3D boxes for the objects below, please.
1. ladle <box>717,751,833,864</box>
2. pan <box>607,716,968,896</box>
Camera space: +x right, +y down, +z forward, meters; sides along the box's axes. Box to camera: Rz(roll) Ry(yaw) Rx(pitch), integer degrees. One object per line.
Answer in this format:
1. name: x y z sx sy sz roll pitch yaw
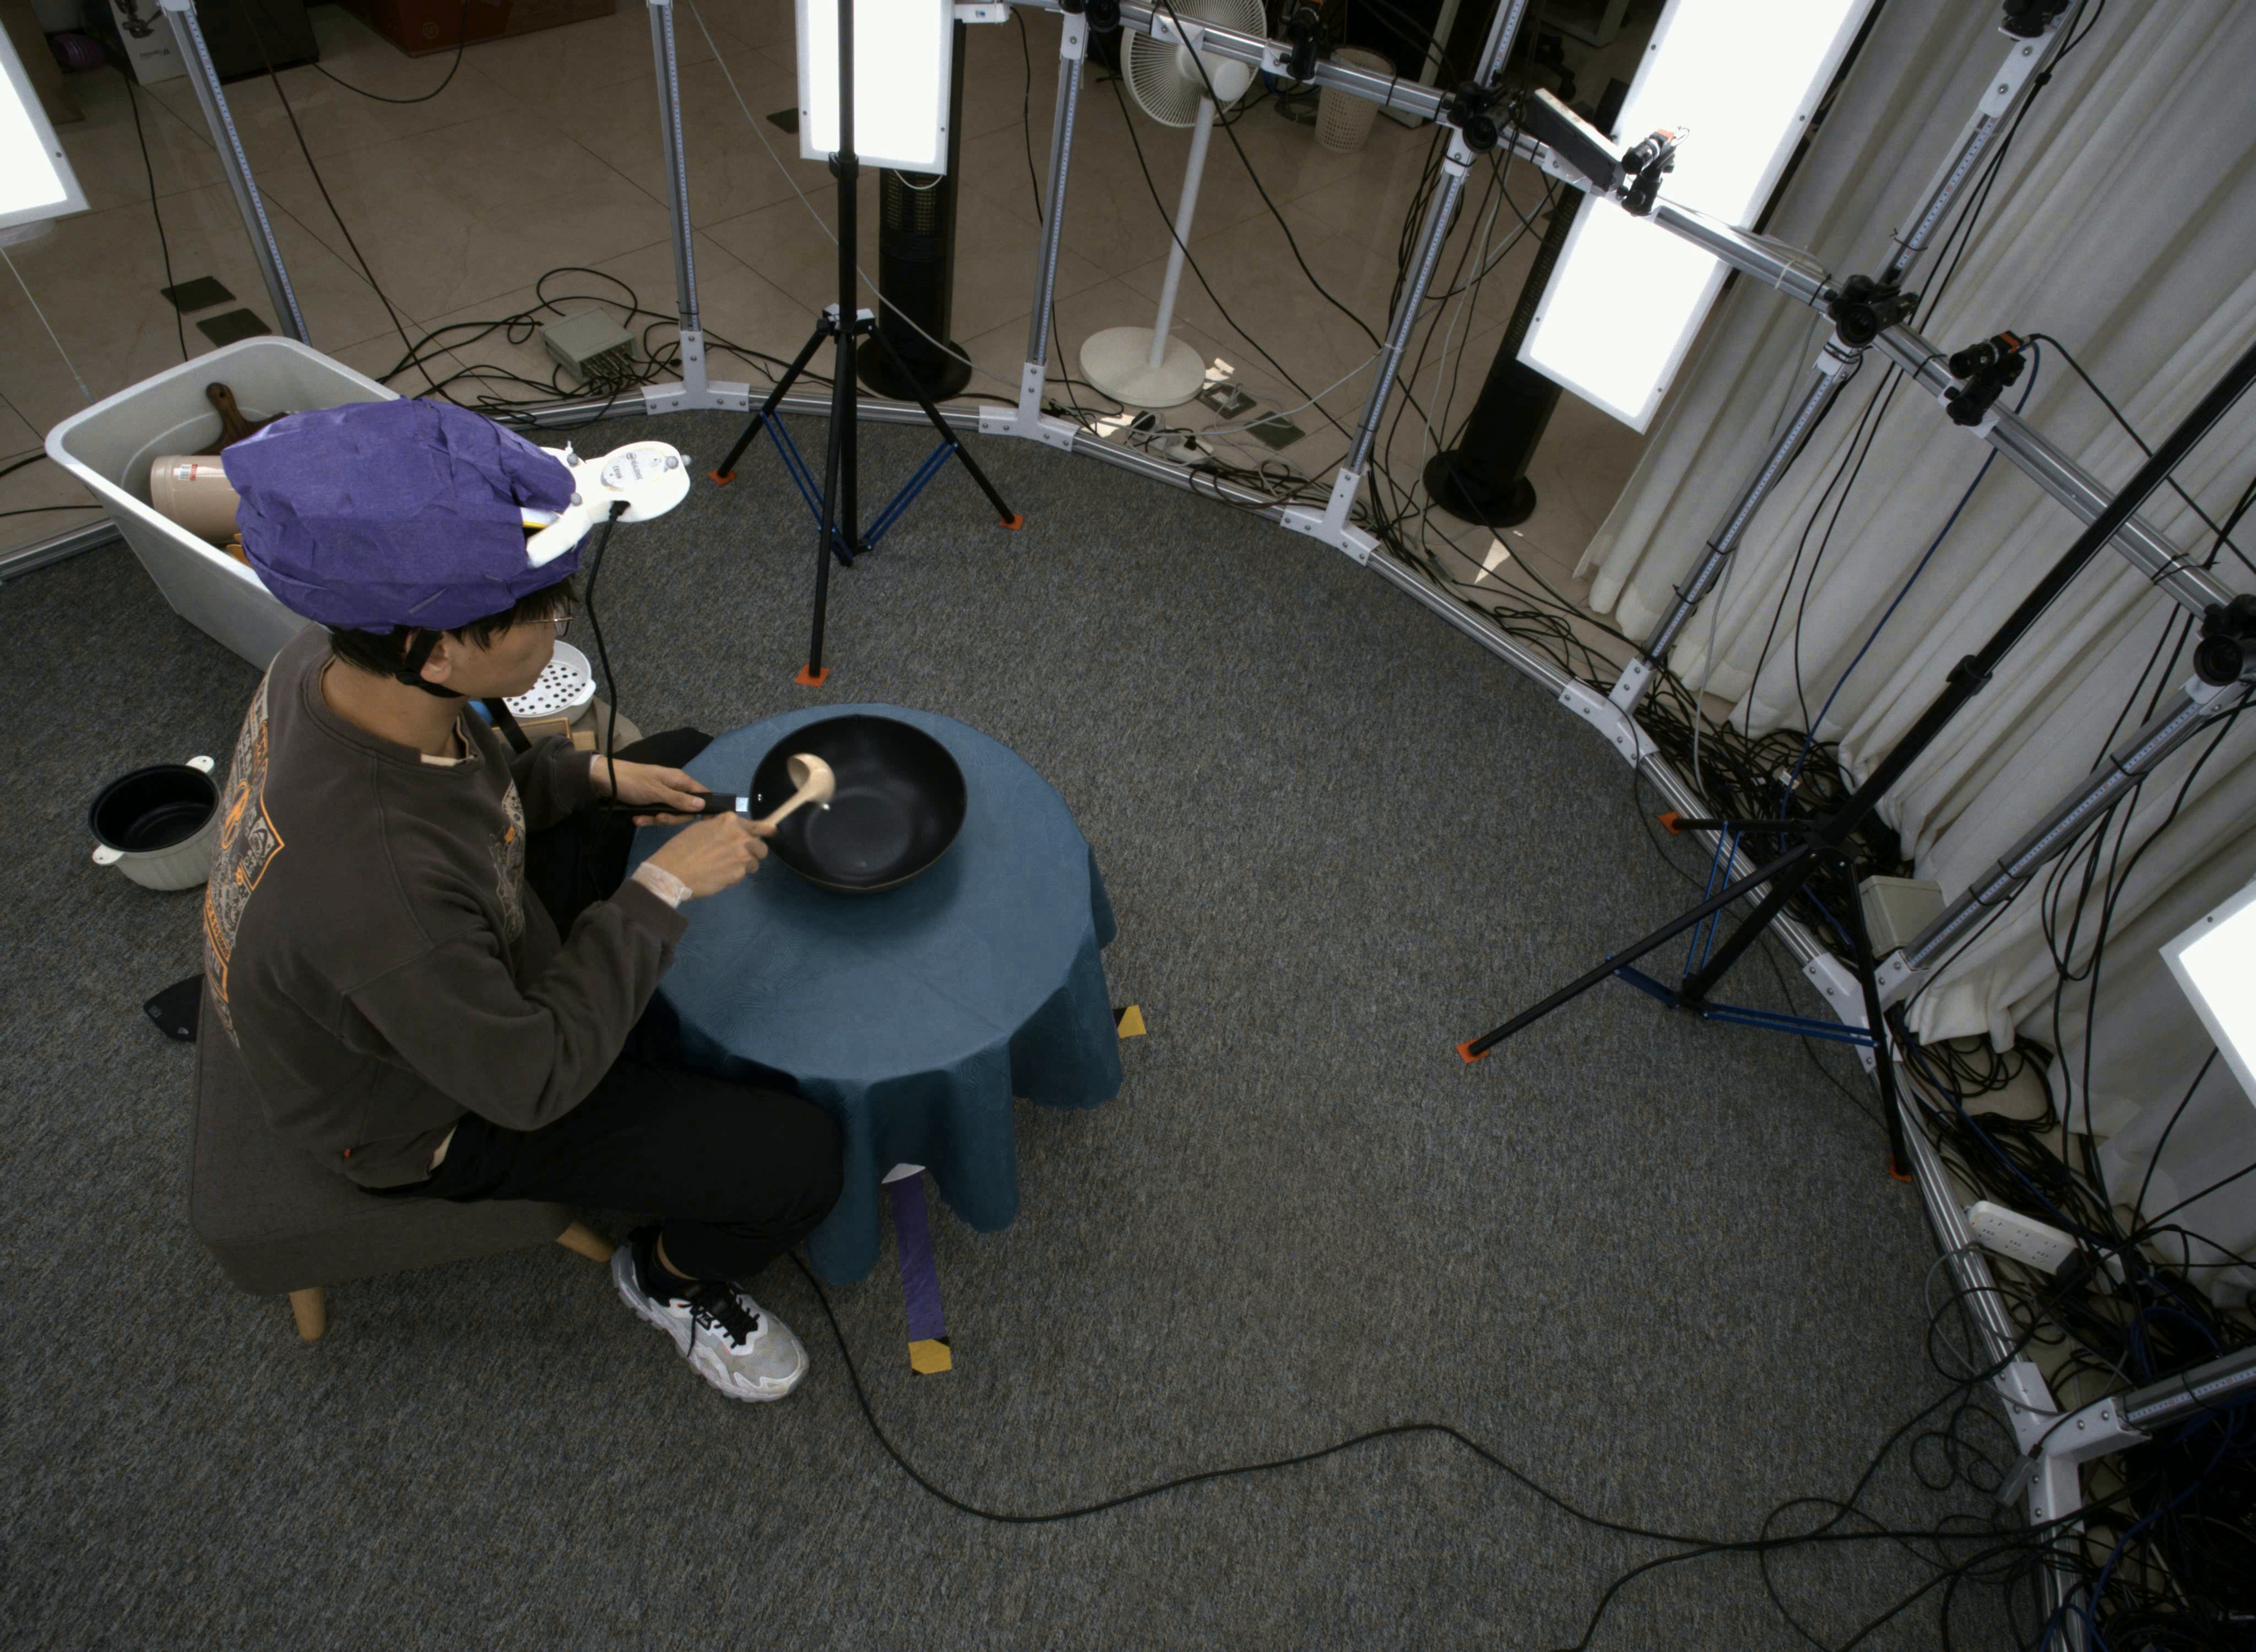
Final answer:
1. ladle: -0.443 -0.015 1.562 0.071 0.074 0.253 -11 23 28
2. pan: -0.439 -0.010 1.691 0.463 0.089 0.282 -2 55 -12
